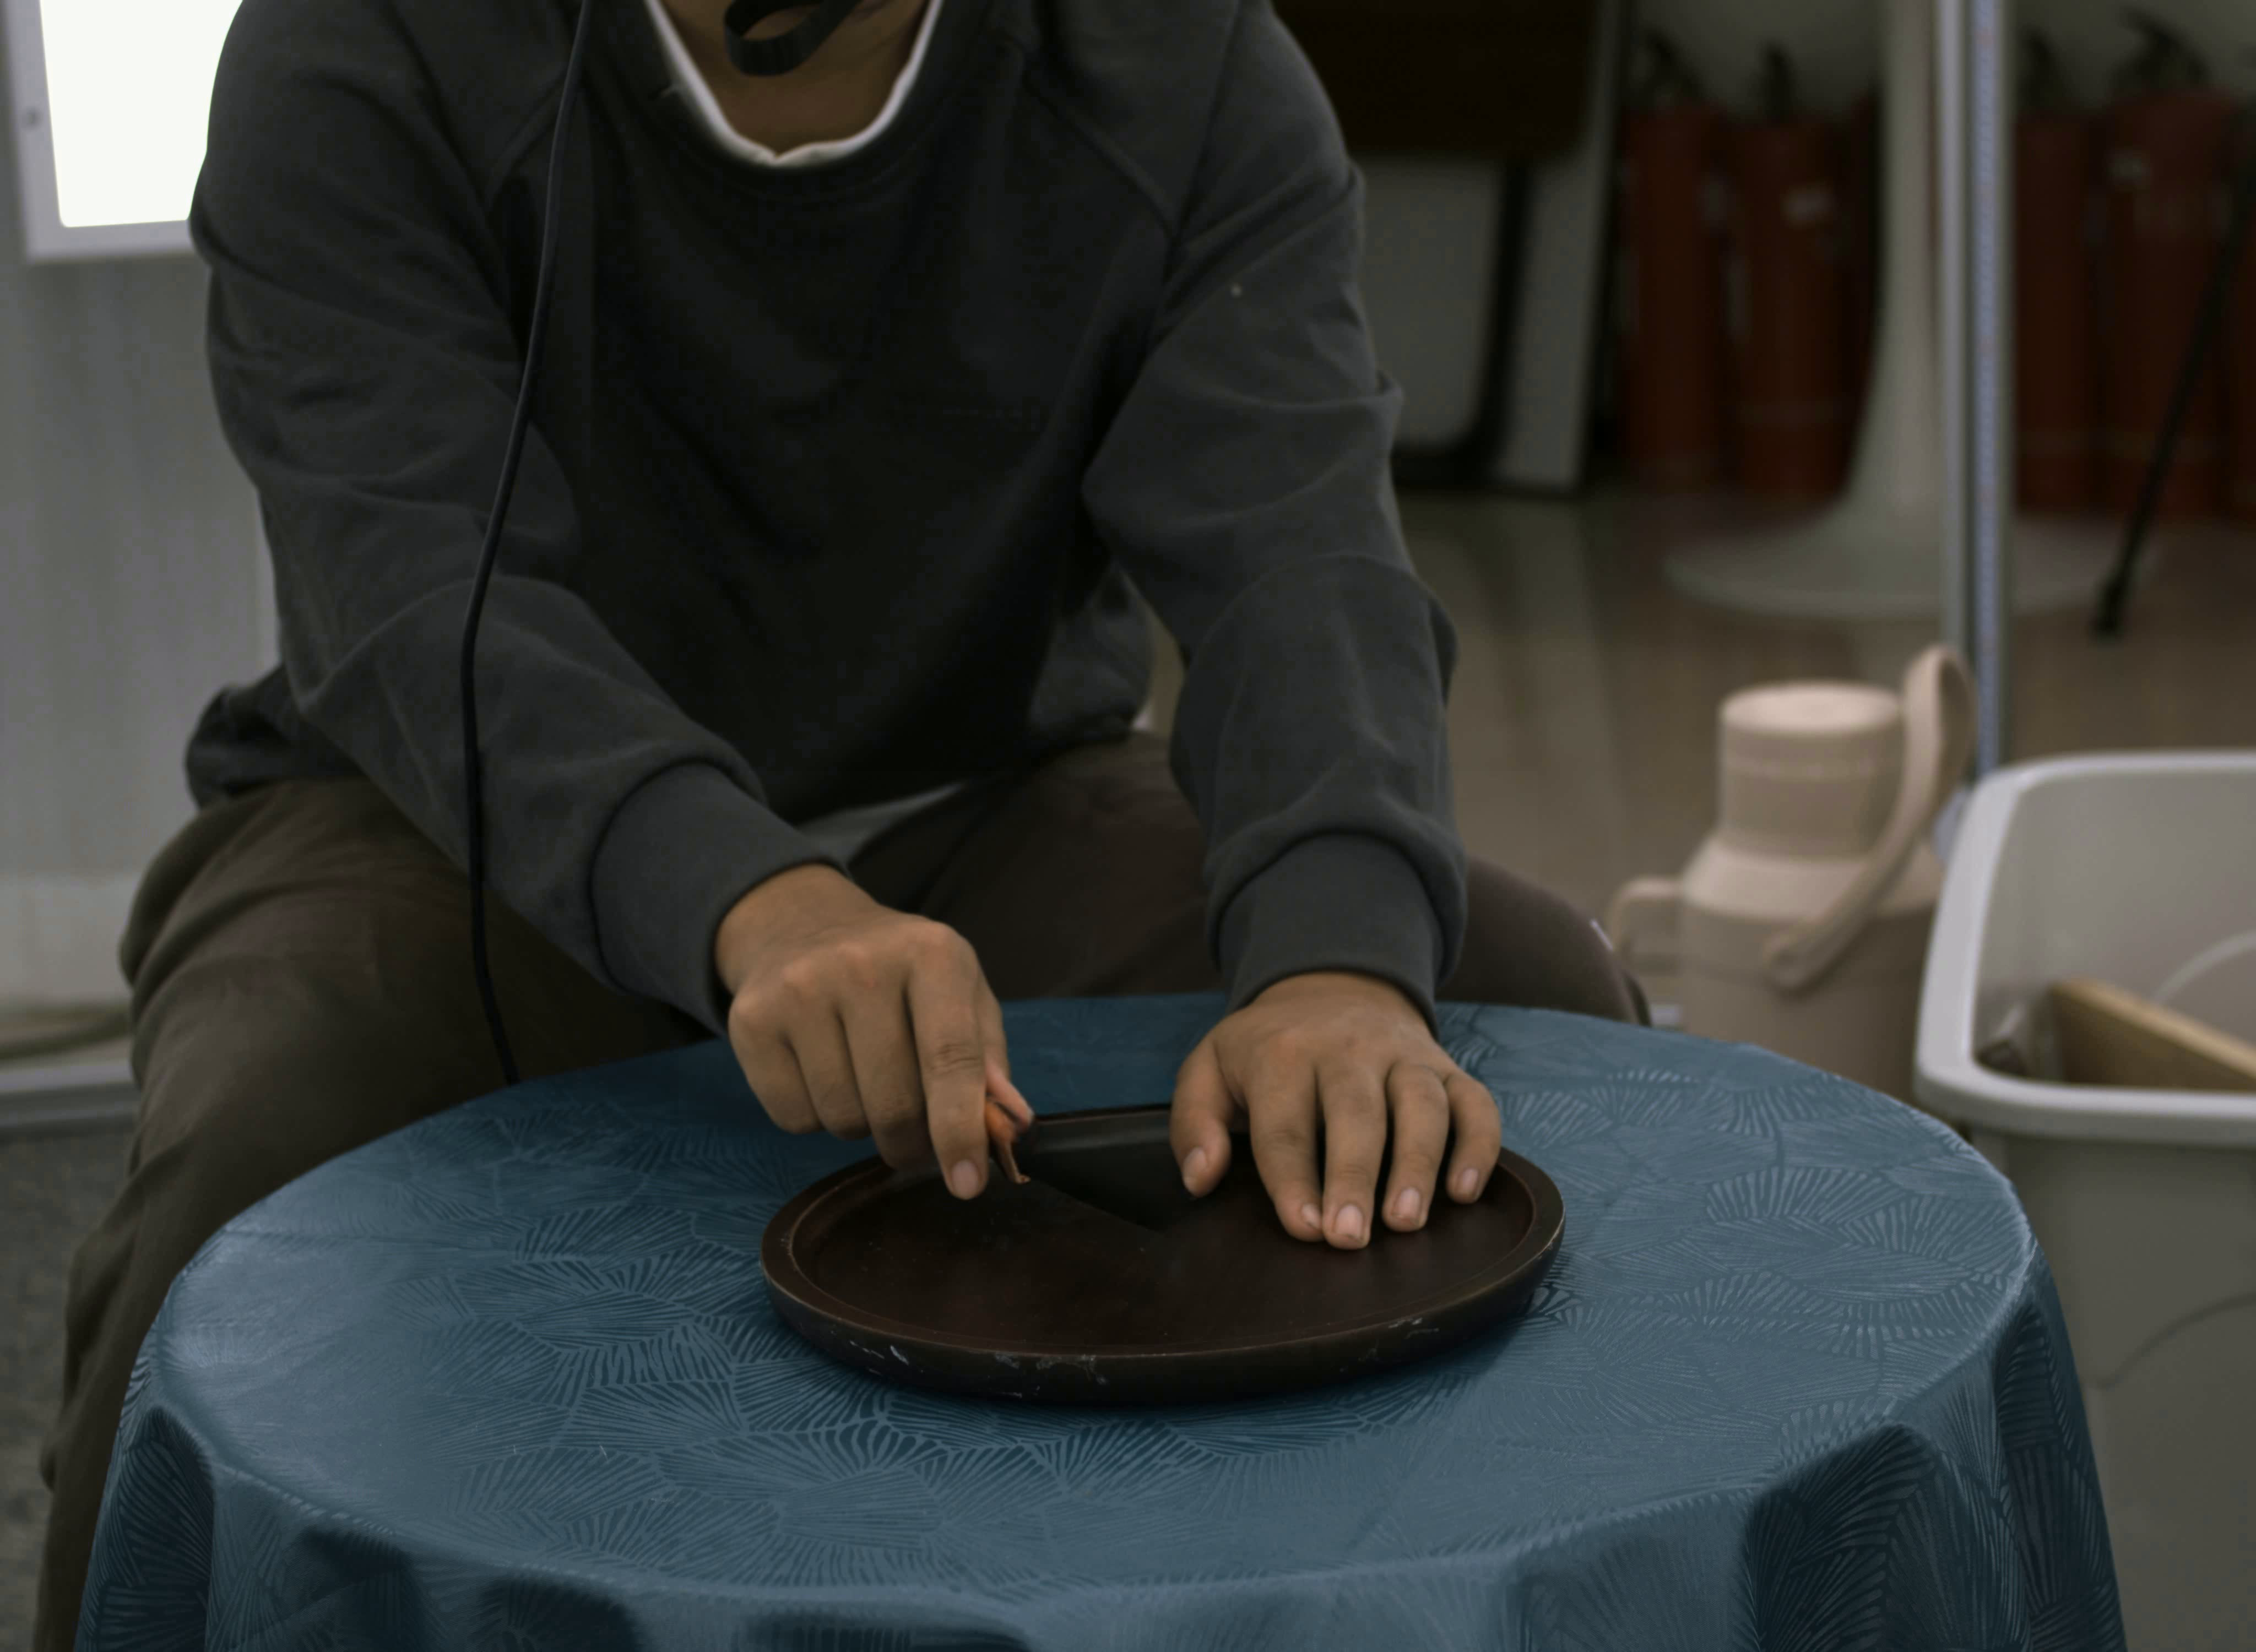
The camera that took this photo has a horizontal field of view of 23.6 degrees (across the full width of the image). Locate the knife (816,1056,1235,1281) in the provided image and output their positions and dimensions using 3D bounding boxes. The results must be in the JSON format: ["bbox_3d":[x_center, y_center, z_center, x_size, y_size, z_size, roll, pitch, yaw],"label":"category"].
[{"bbox_3d":[-0.034,0.106,1.700,0.017,0.026,0.228,-27,26,-28],"label":"knife"}]

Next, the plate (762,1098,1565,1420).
[{"bbox_3d":[0.012,0.133,1.677,0.251,0.029,0.255,-5,13,0],"label":"plate"}]
